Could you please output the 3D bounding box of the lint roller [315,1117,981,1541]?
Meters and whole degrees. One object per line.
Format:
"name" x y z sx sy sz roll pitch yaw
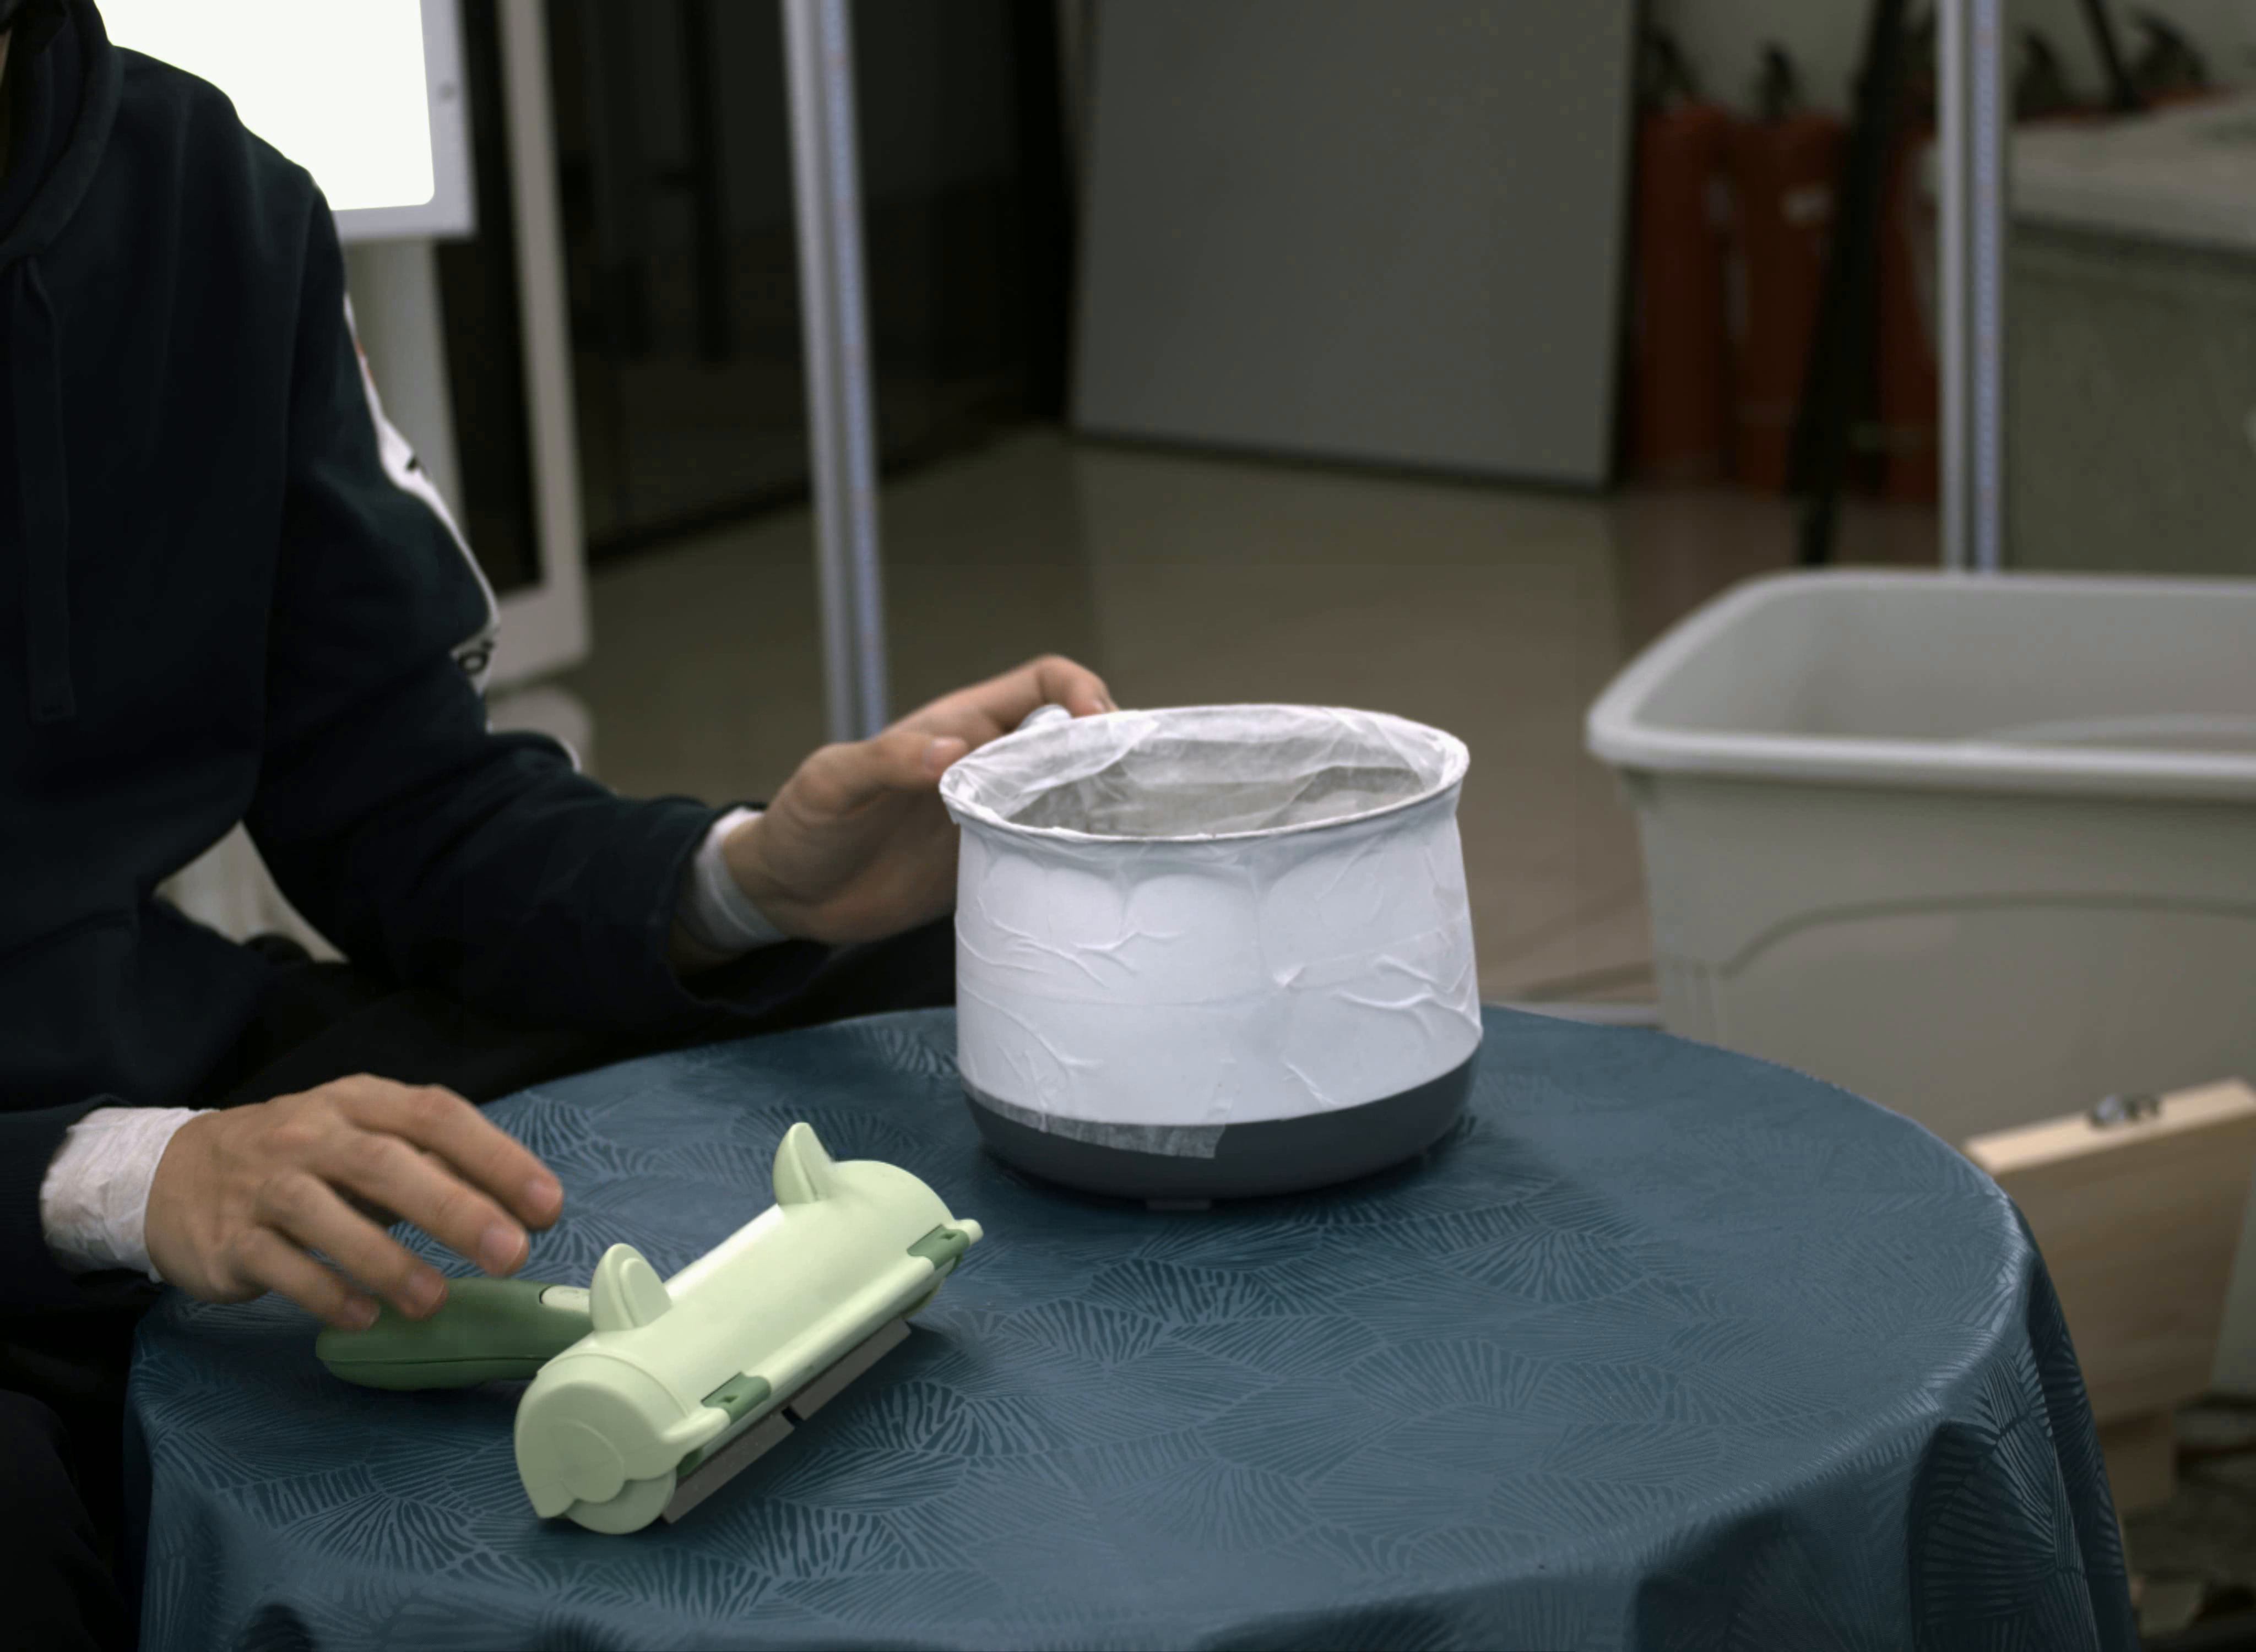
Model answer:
"lint roller" -0.162 0.137 1.599 0.183 0.083 0.196 7 18 23

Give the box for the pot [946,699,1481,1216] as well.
"pot" 0.015 0.037 1.818 0.175 0.138 0.236 -11 16 -30
